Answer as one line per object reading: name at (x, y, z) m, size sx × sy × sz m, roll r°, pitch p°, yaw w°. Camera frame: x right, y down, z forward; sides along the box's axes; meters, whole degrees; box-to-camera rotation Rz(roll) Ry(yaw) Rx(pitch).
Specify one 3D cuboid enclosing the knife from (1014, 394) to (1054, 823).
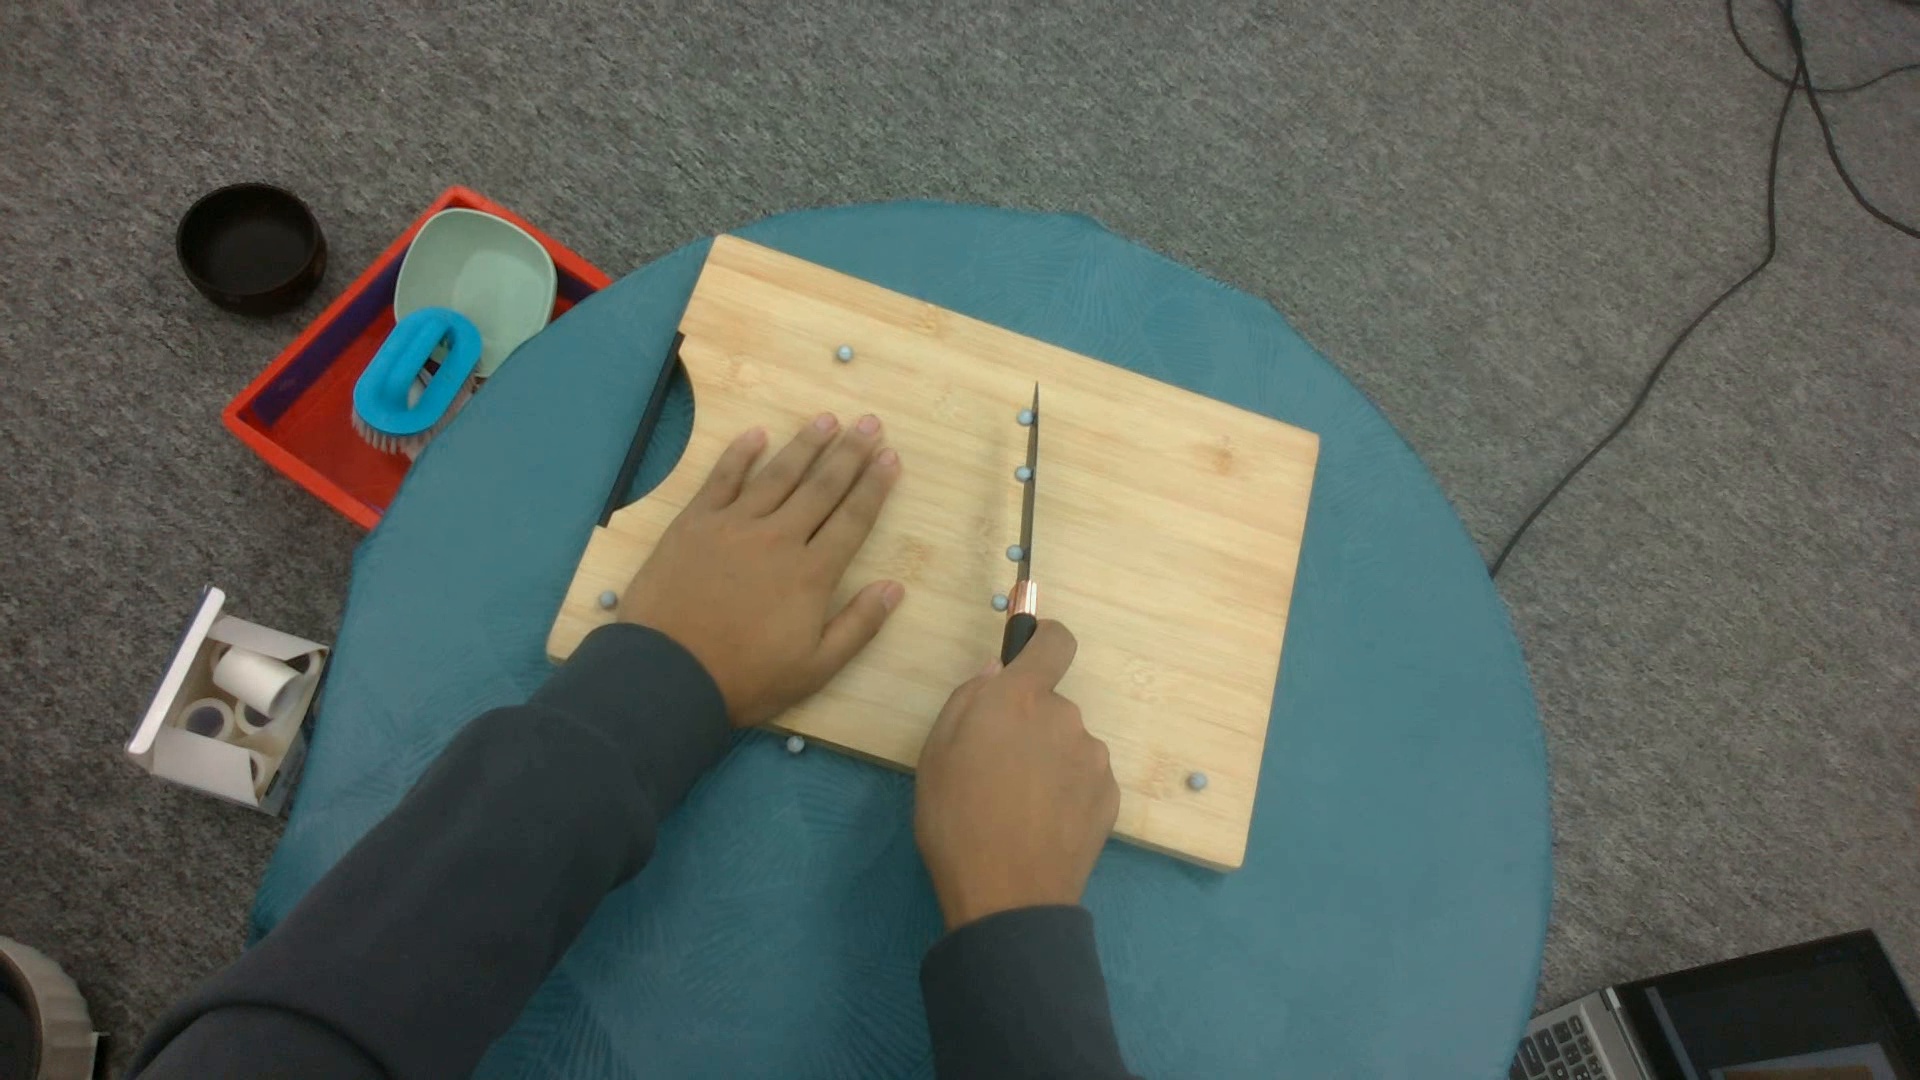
knife at (0.034, 0.025, 0.666) m, size 0.017 × 0.026 × 0.226 m, roll 4°, pitch 66°, yaw -9°

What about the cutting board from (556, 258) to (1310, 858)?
cutting board at (0.000, 0.003, 0.707) m, size 0.349 × 0.023 × 0.251 m, roll 14°, pitch 66°, yaw -4°
